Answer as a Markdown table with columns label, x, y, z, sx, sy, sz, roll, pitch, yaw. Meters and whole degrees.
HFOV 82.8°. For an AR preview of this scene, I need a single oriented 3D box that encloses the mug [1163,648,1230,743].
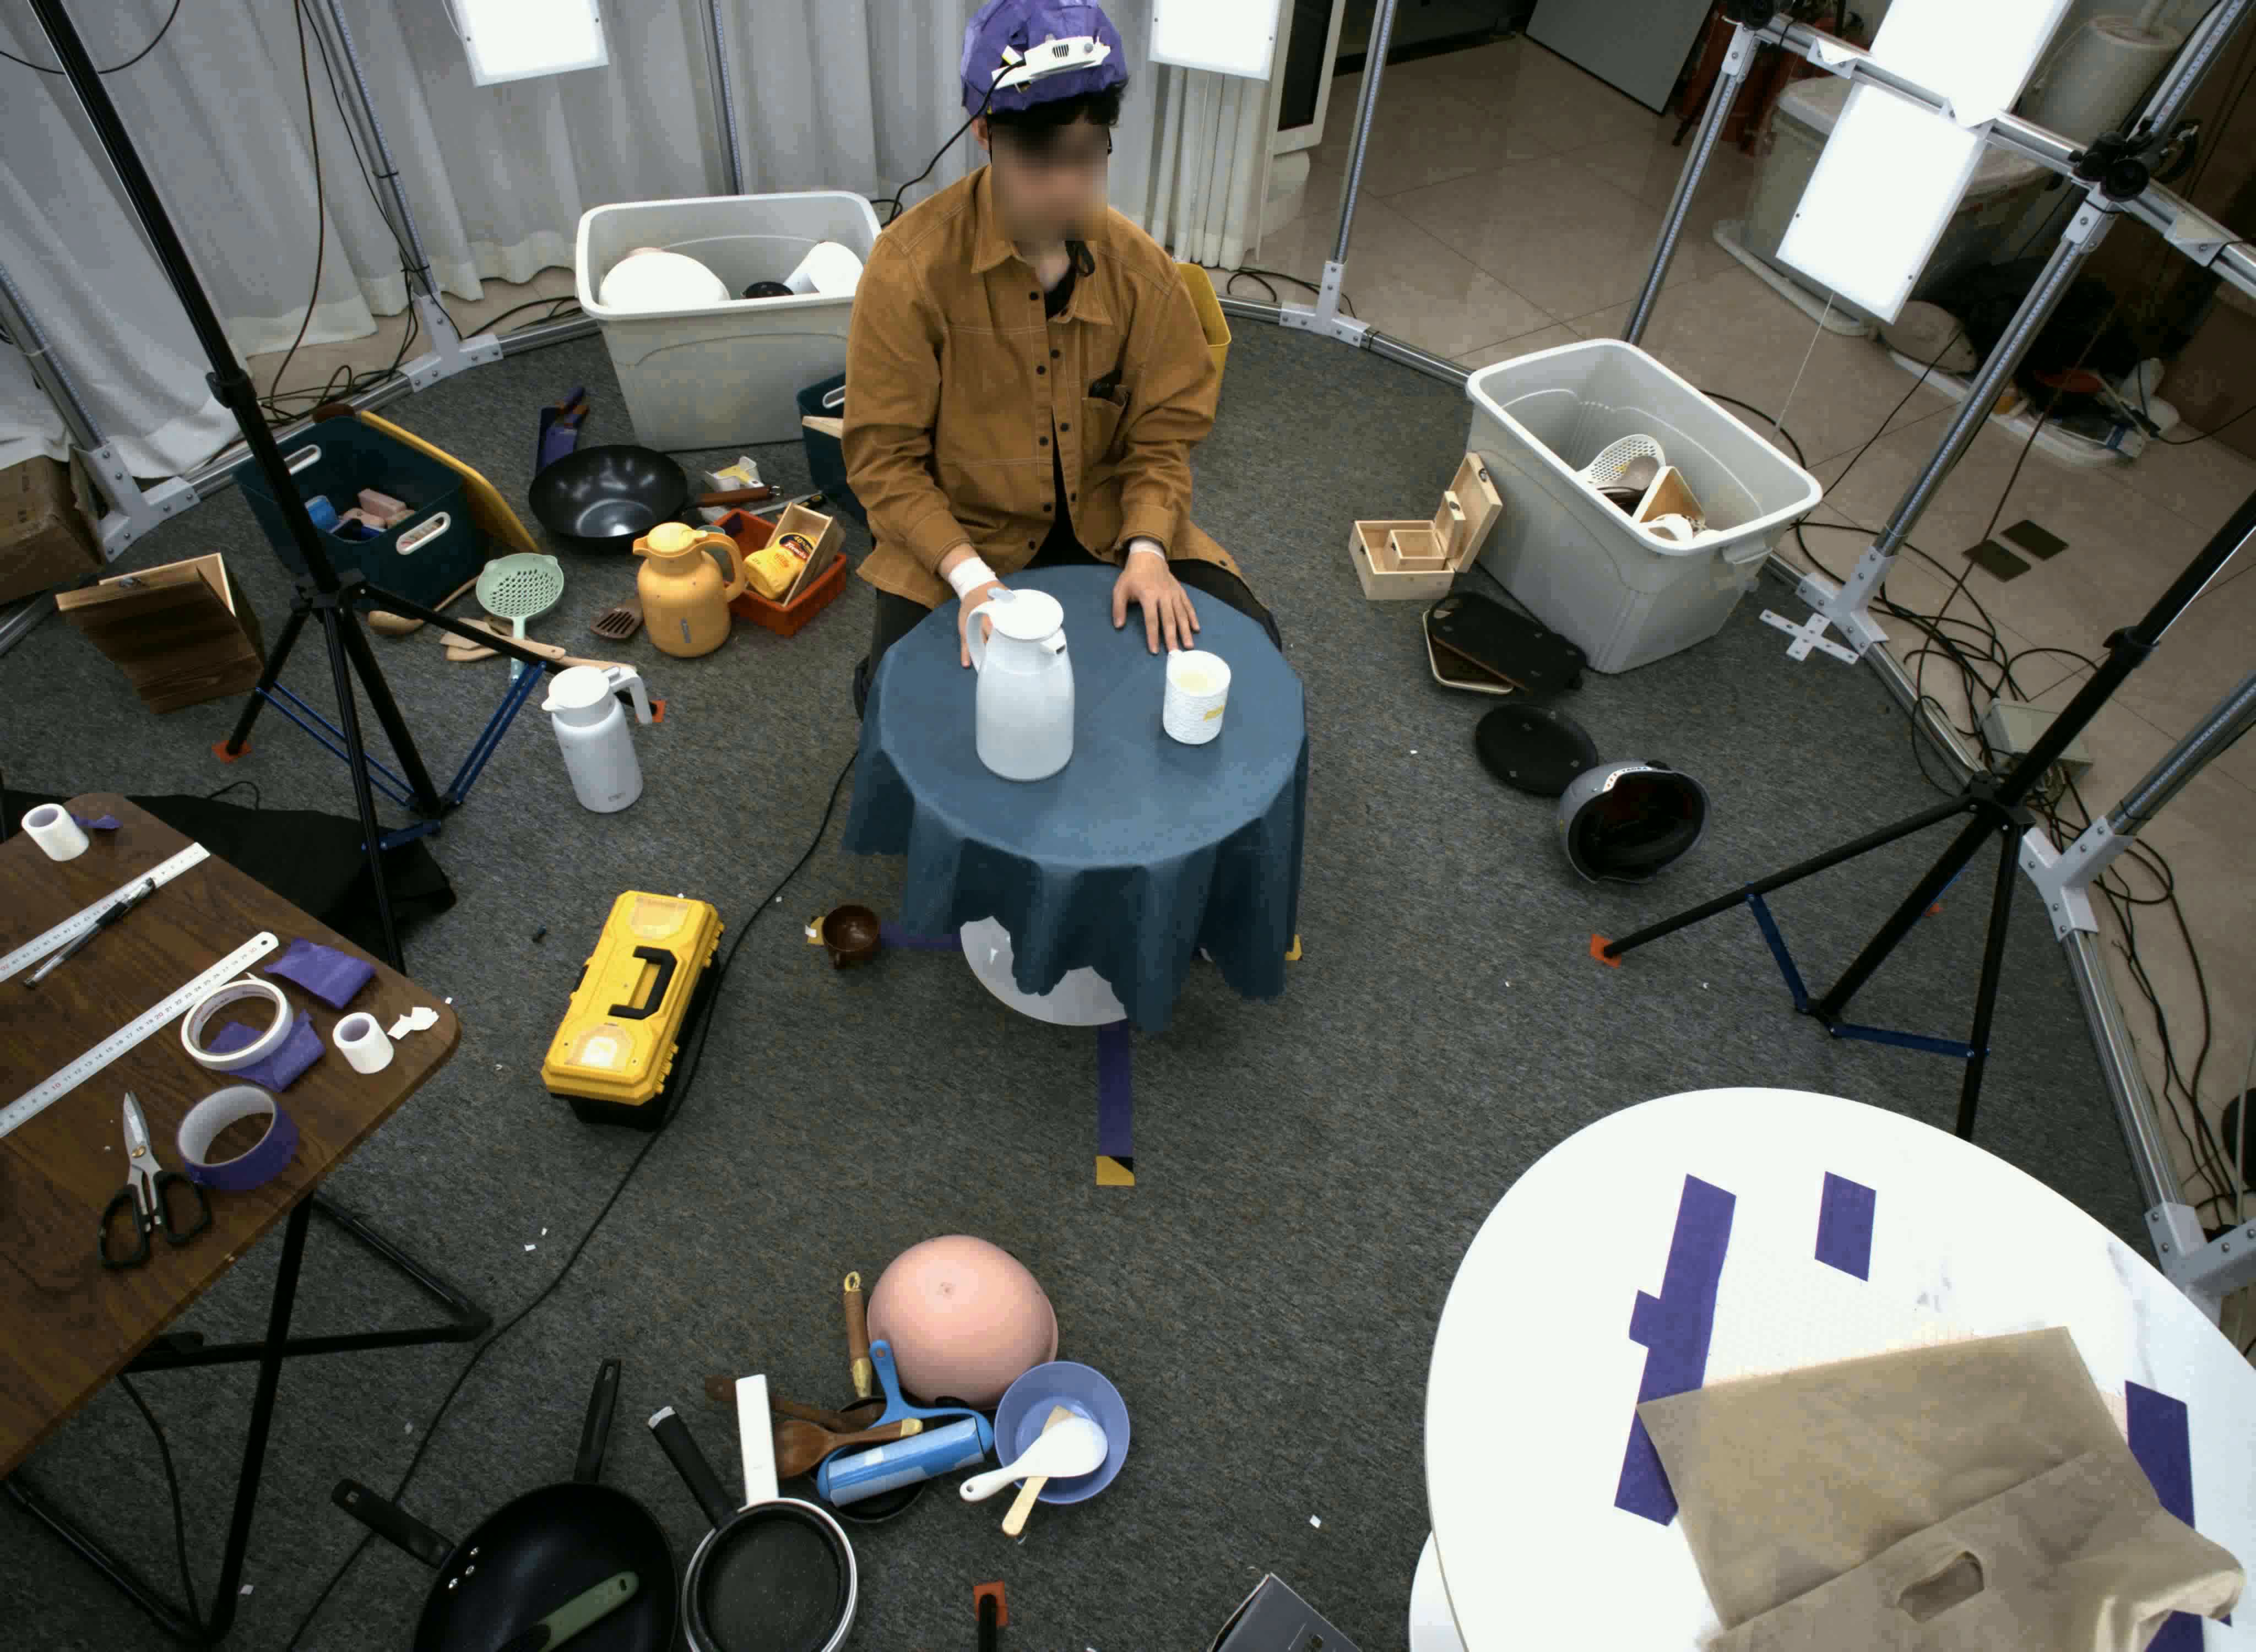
| label | x | y | z | sx | sy | sz | roll | pitch | yaw |
| --- | --- | --- | --- | --- | --- | --- | --- | --- | --- |
| mug | 0.085 | -0.187 | 1.767 | 0.085 | 0.099 | 0.121 | -19 | 55 | -18 |

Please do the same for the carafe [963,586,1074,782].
| label | x | y | z | sx | sy | sz | roll | pitch | yaw |
| --- | --- | --- | --- | --- | --- | --- | --- | --- | --- |
| carafe | -0.149 | -0.196 | 1.670 | 0.170 | 0.242 | 0.134 | 36 | 57 | 25 |
